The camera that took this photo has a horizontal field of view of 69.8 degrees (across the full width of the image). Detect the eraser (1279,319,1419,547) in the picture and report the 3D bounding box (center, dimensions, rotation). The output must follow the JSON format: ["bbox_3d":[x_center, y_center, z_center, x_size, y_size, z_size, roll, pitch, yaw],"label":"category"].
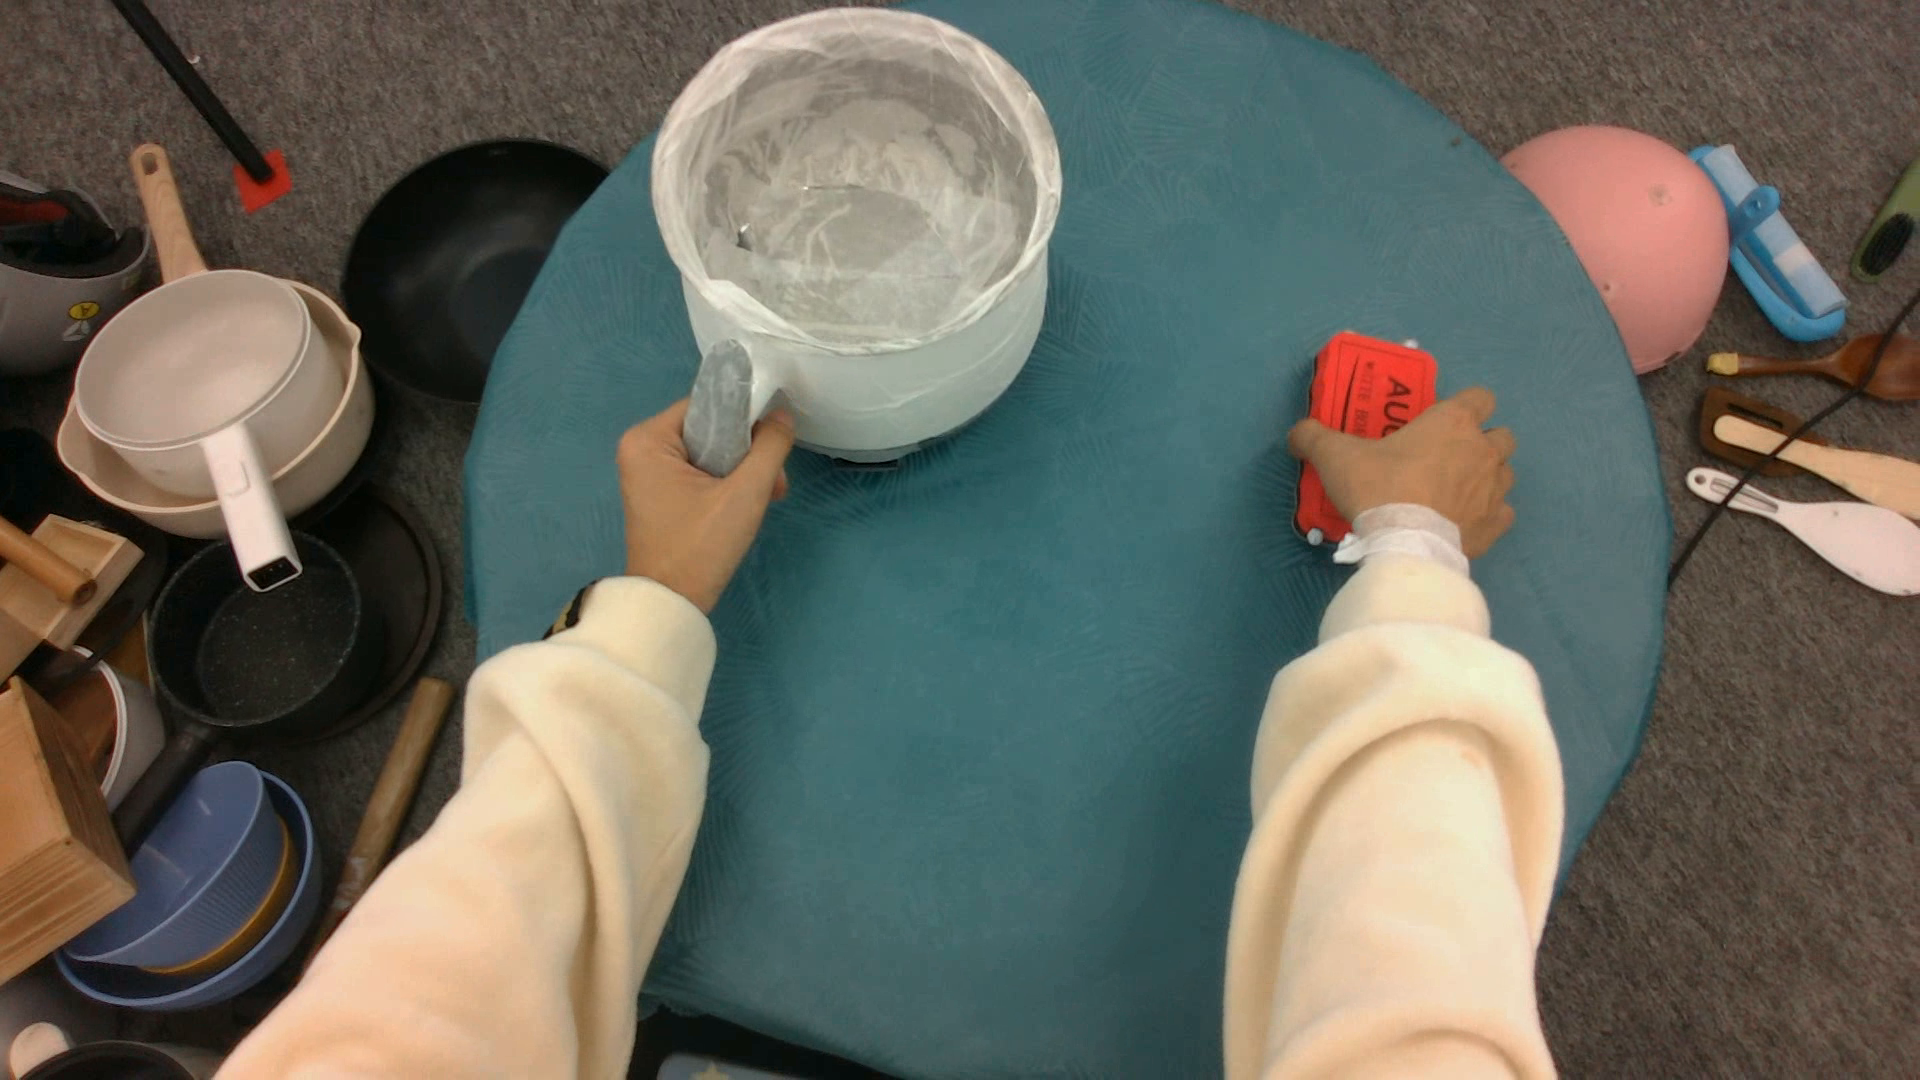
[{"bbox_3d":[0.194,-0.053,0.684,0.059,0.023,0.108,13,72,-6],"label":"eraser"}]

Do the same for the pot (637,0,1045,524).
[{"bbox_3d":[-0.066,-0.120,0.645,0.178,0.136,0.234,26,70,8],"label":"pot"}]
